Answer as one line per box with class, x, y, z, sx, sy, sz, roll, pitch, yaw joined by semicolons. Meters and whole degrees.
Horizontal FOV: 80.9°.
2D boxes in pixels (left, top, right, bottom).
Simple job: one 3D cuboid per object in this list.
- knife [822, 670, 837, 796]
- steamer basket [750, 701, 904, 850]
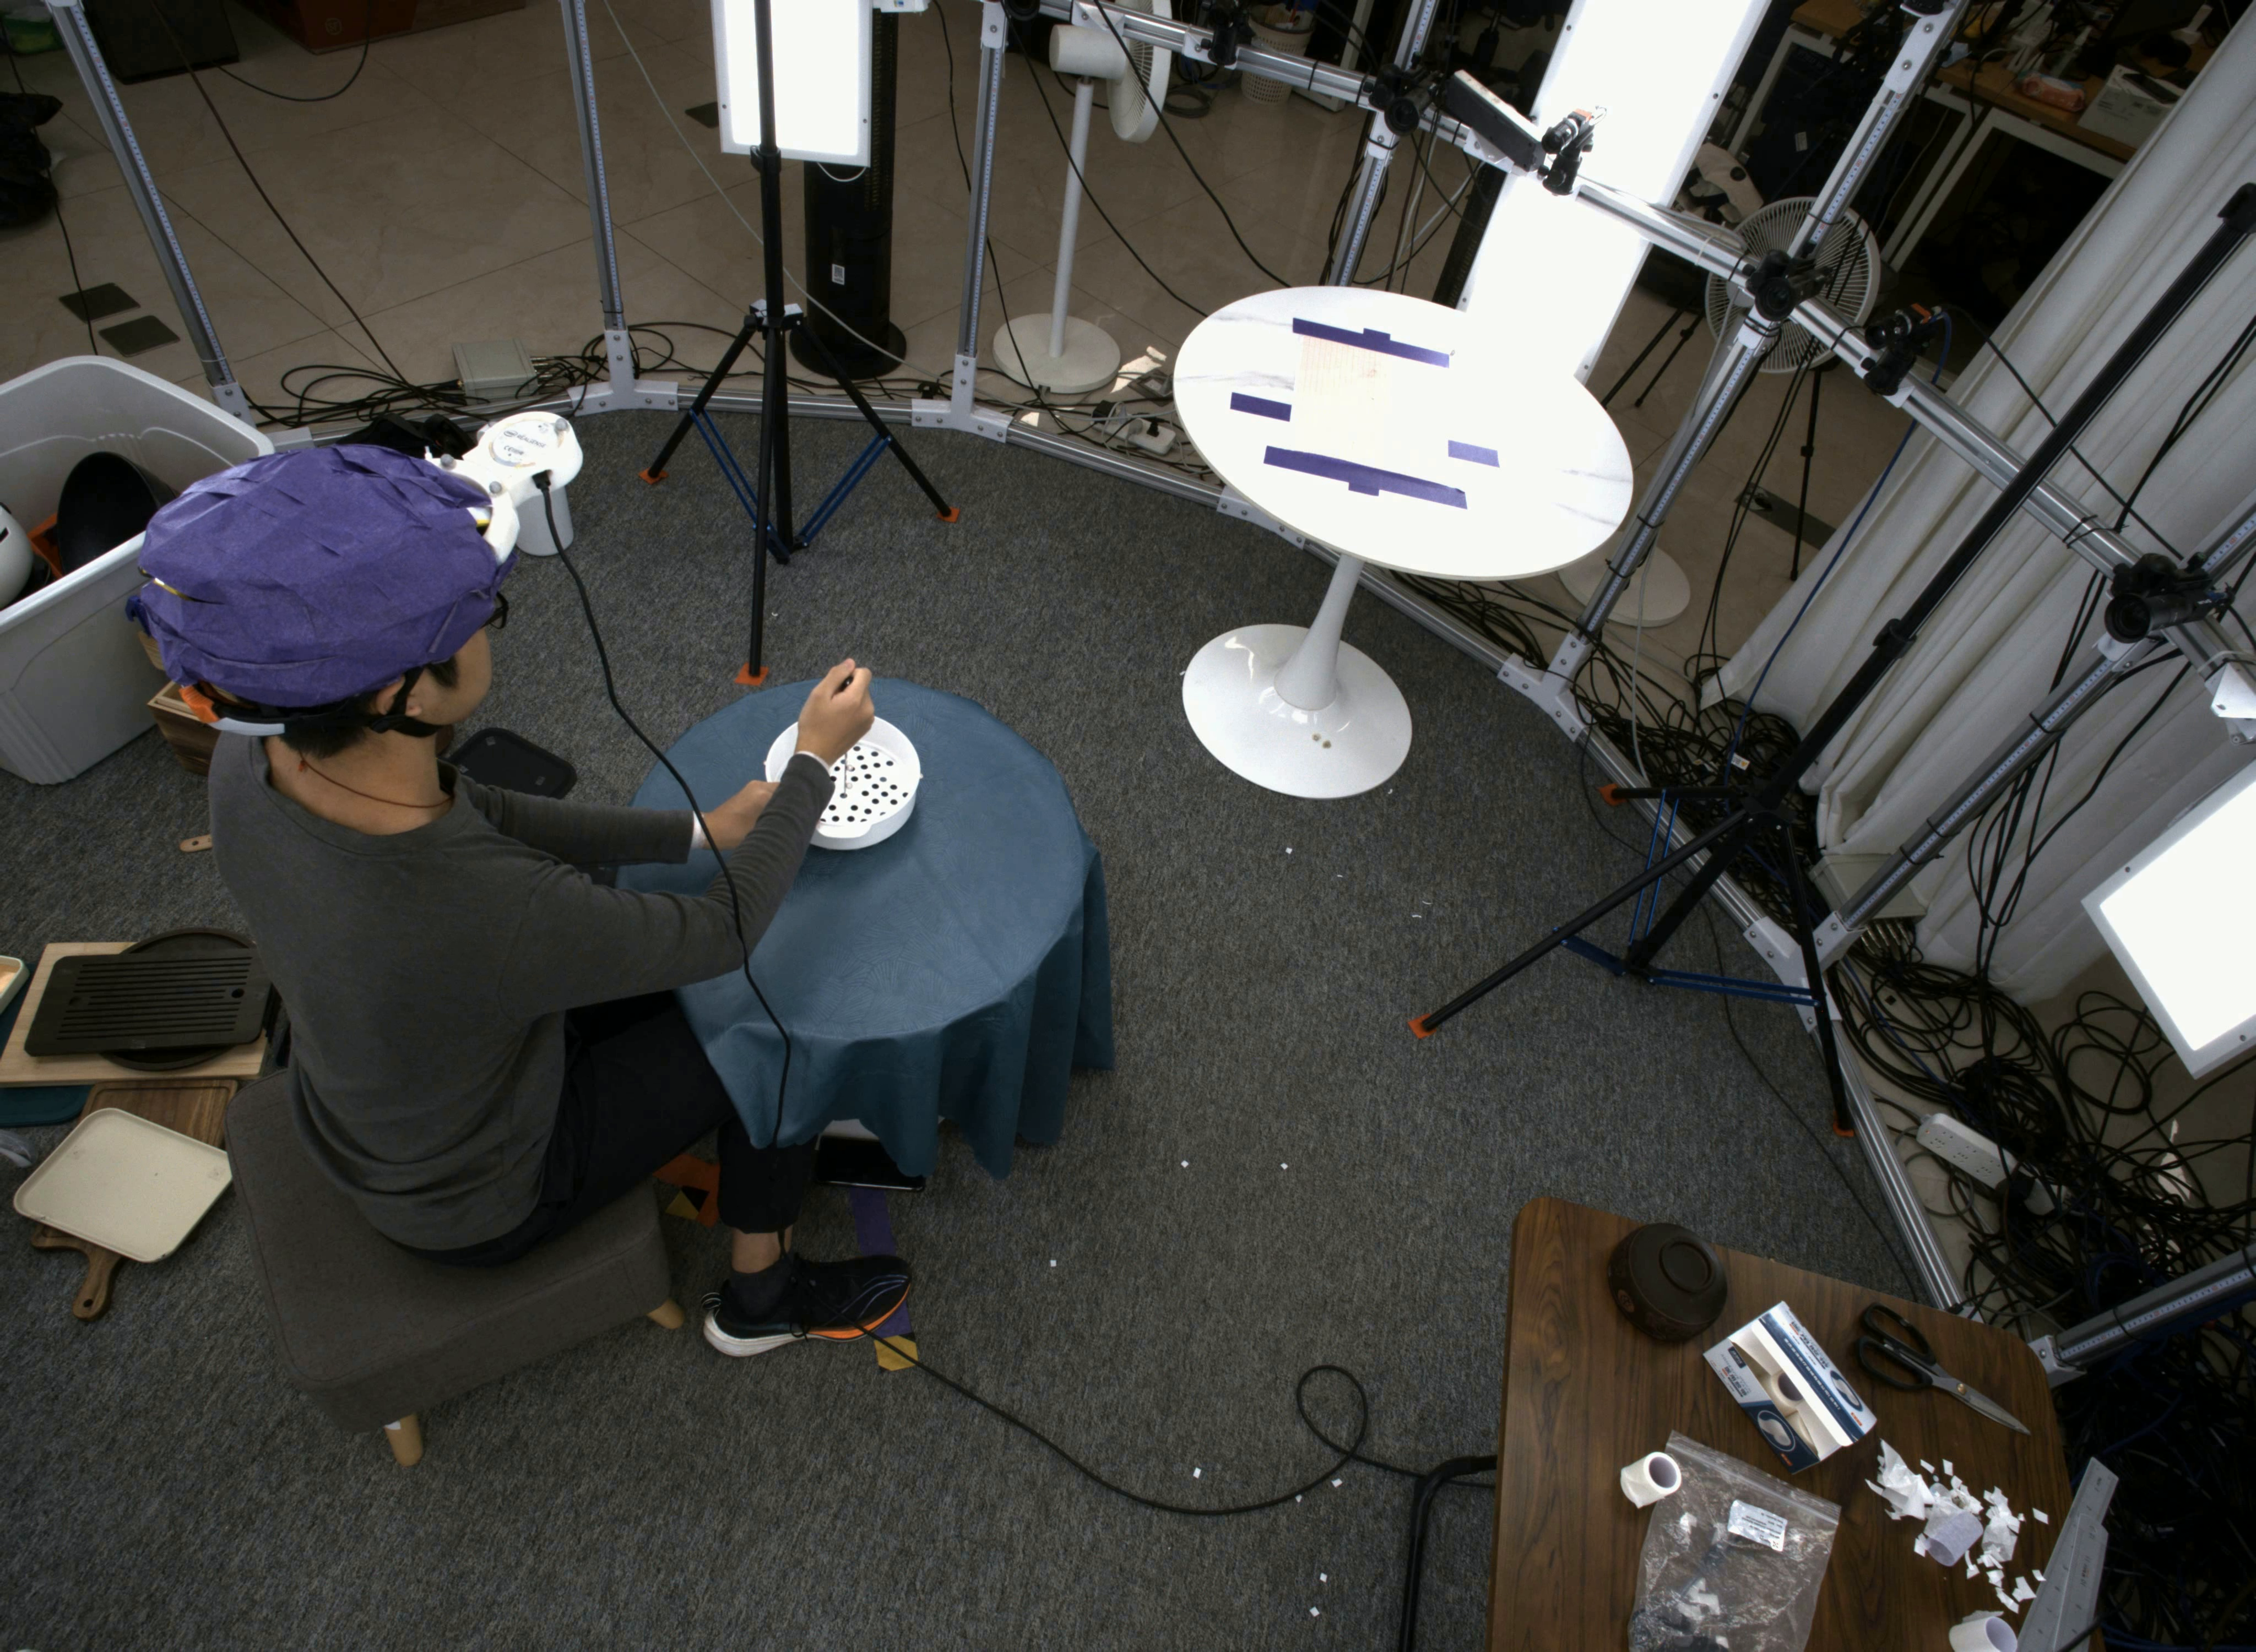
knife;-0.372;-0.107;1.615;0.016;0.242;0.024;8;54;-7
steamer basket;-0.403;-0.062;1.743;0.202;0.070;0.226;0;55;-13
